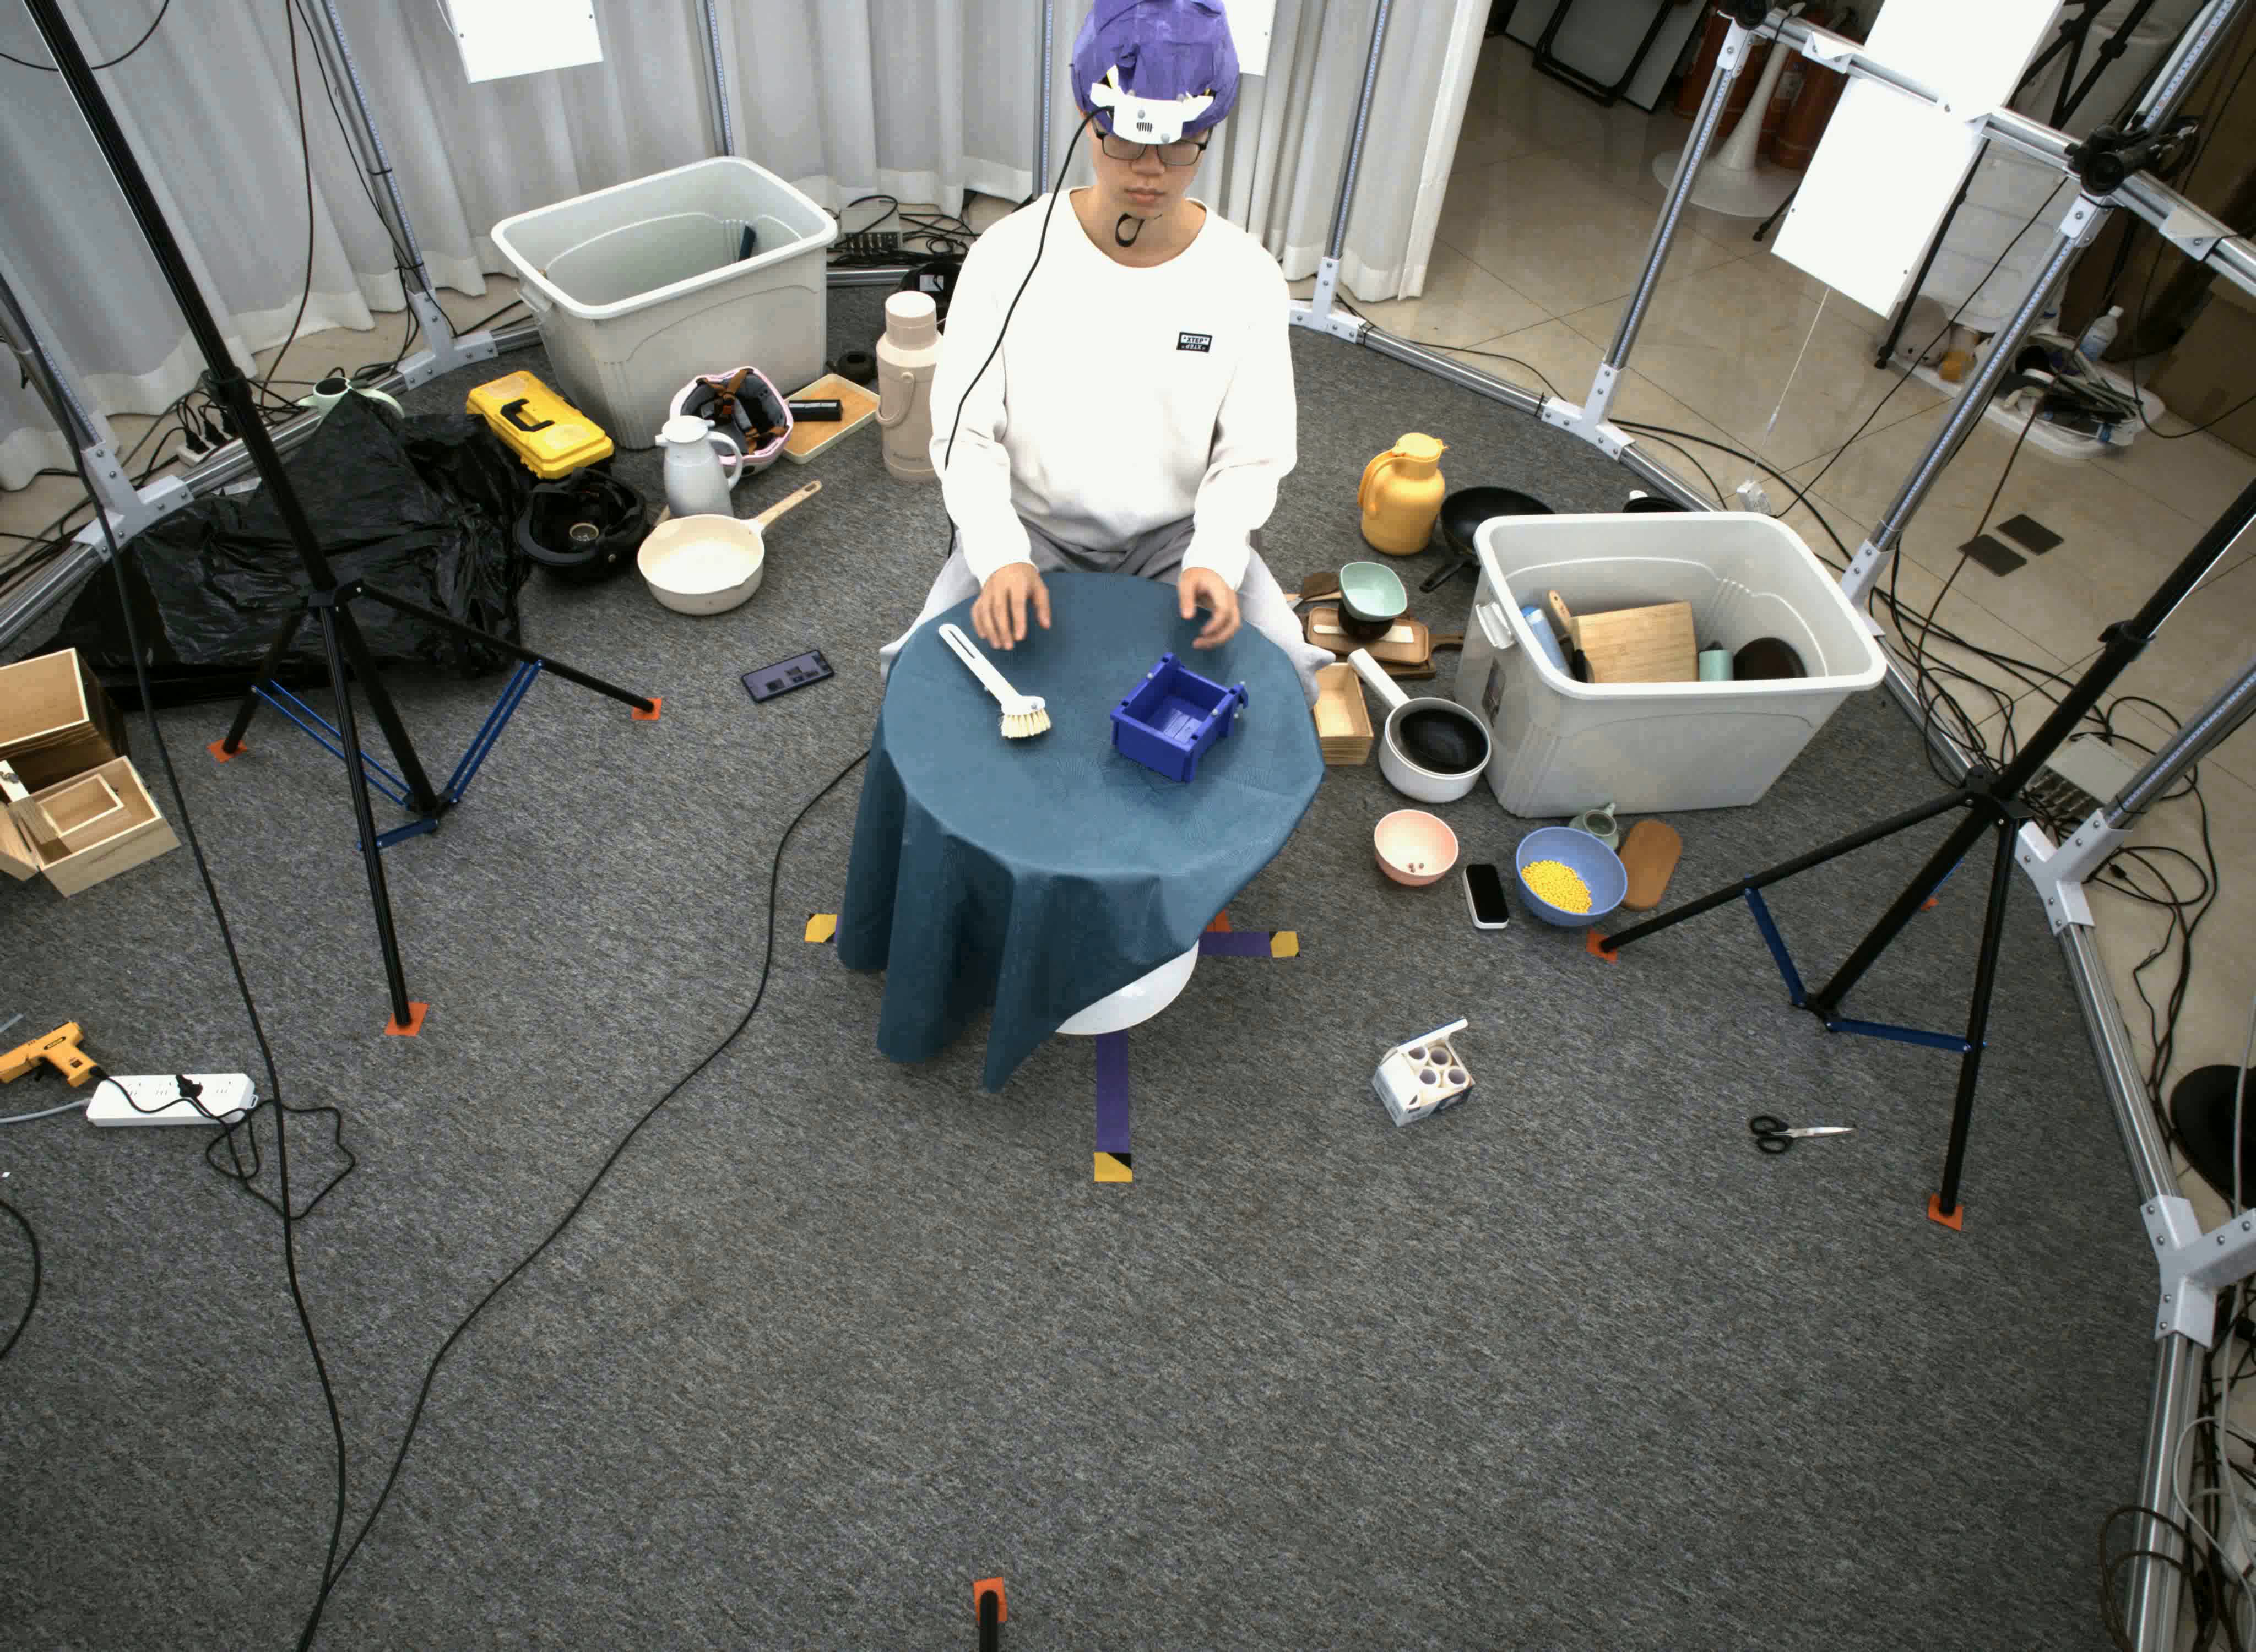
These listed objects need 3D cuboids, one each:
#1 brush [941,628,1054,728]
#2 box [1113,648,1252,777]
[{"bbox_3d":[-0.192,-0.206,1.818,0.068,0.055,0.271,-13,36,-34],"label":"brush"},{"bbox_3d":[0.075,-0.161,1.756,0.125,0.080,0.182,27,54,19],"label":"box"}]
